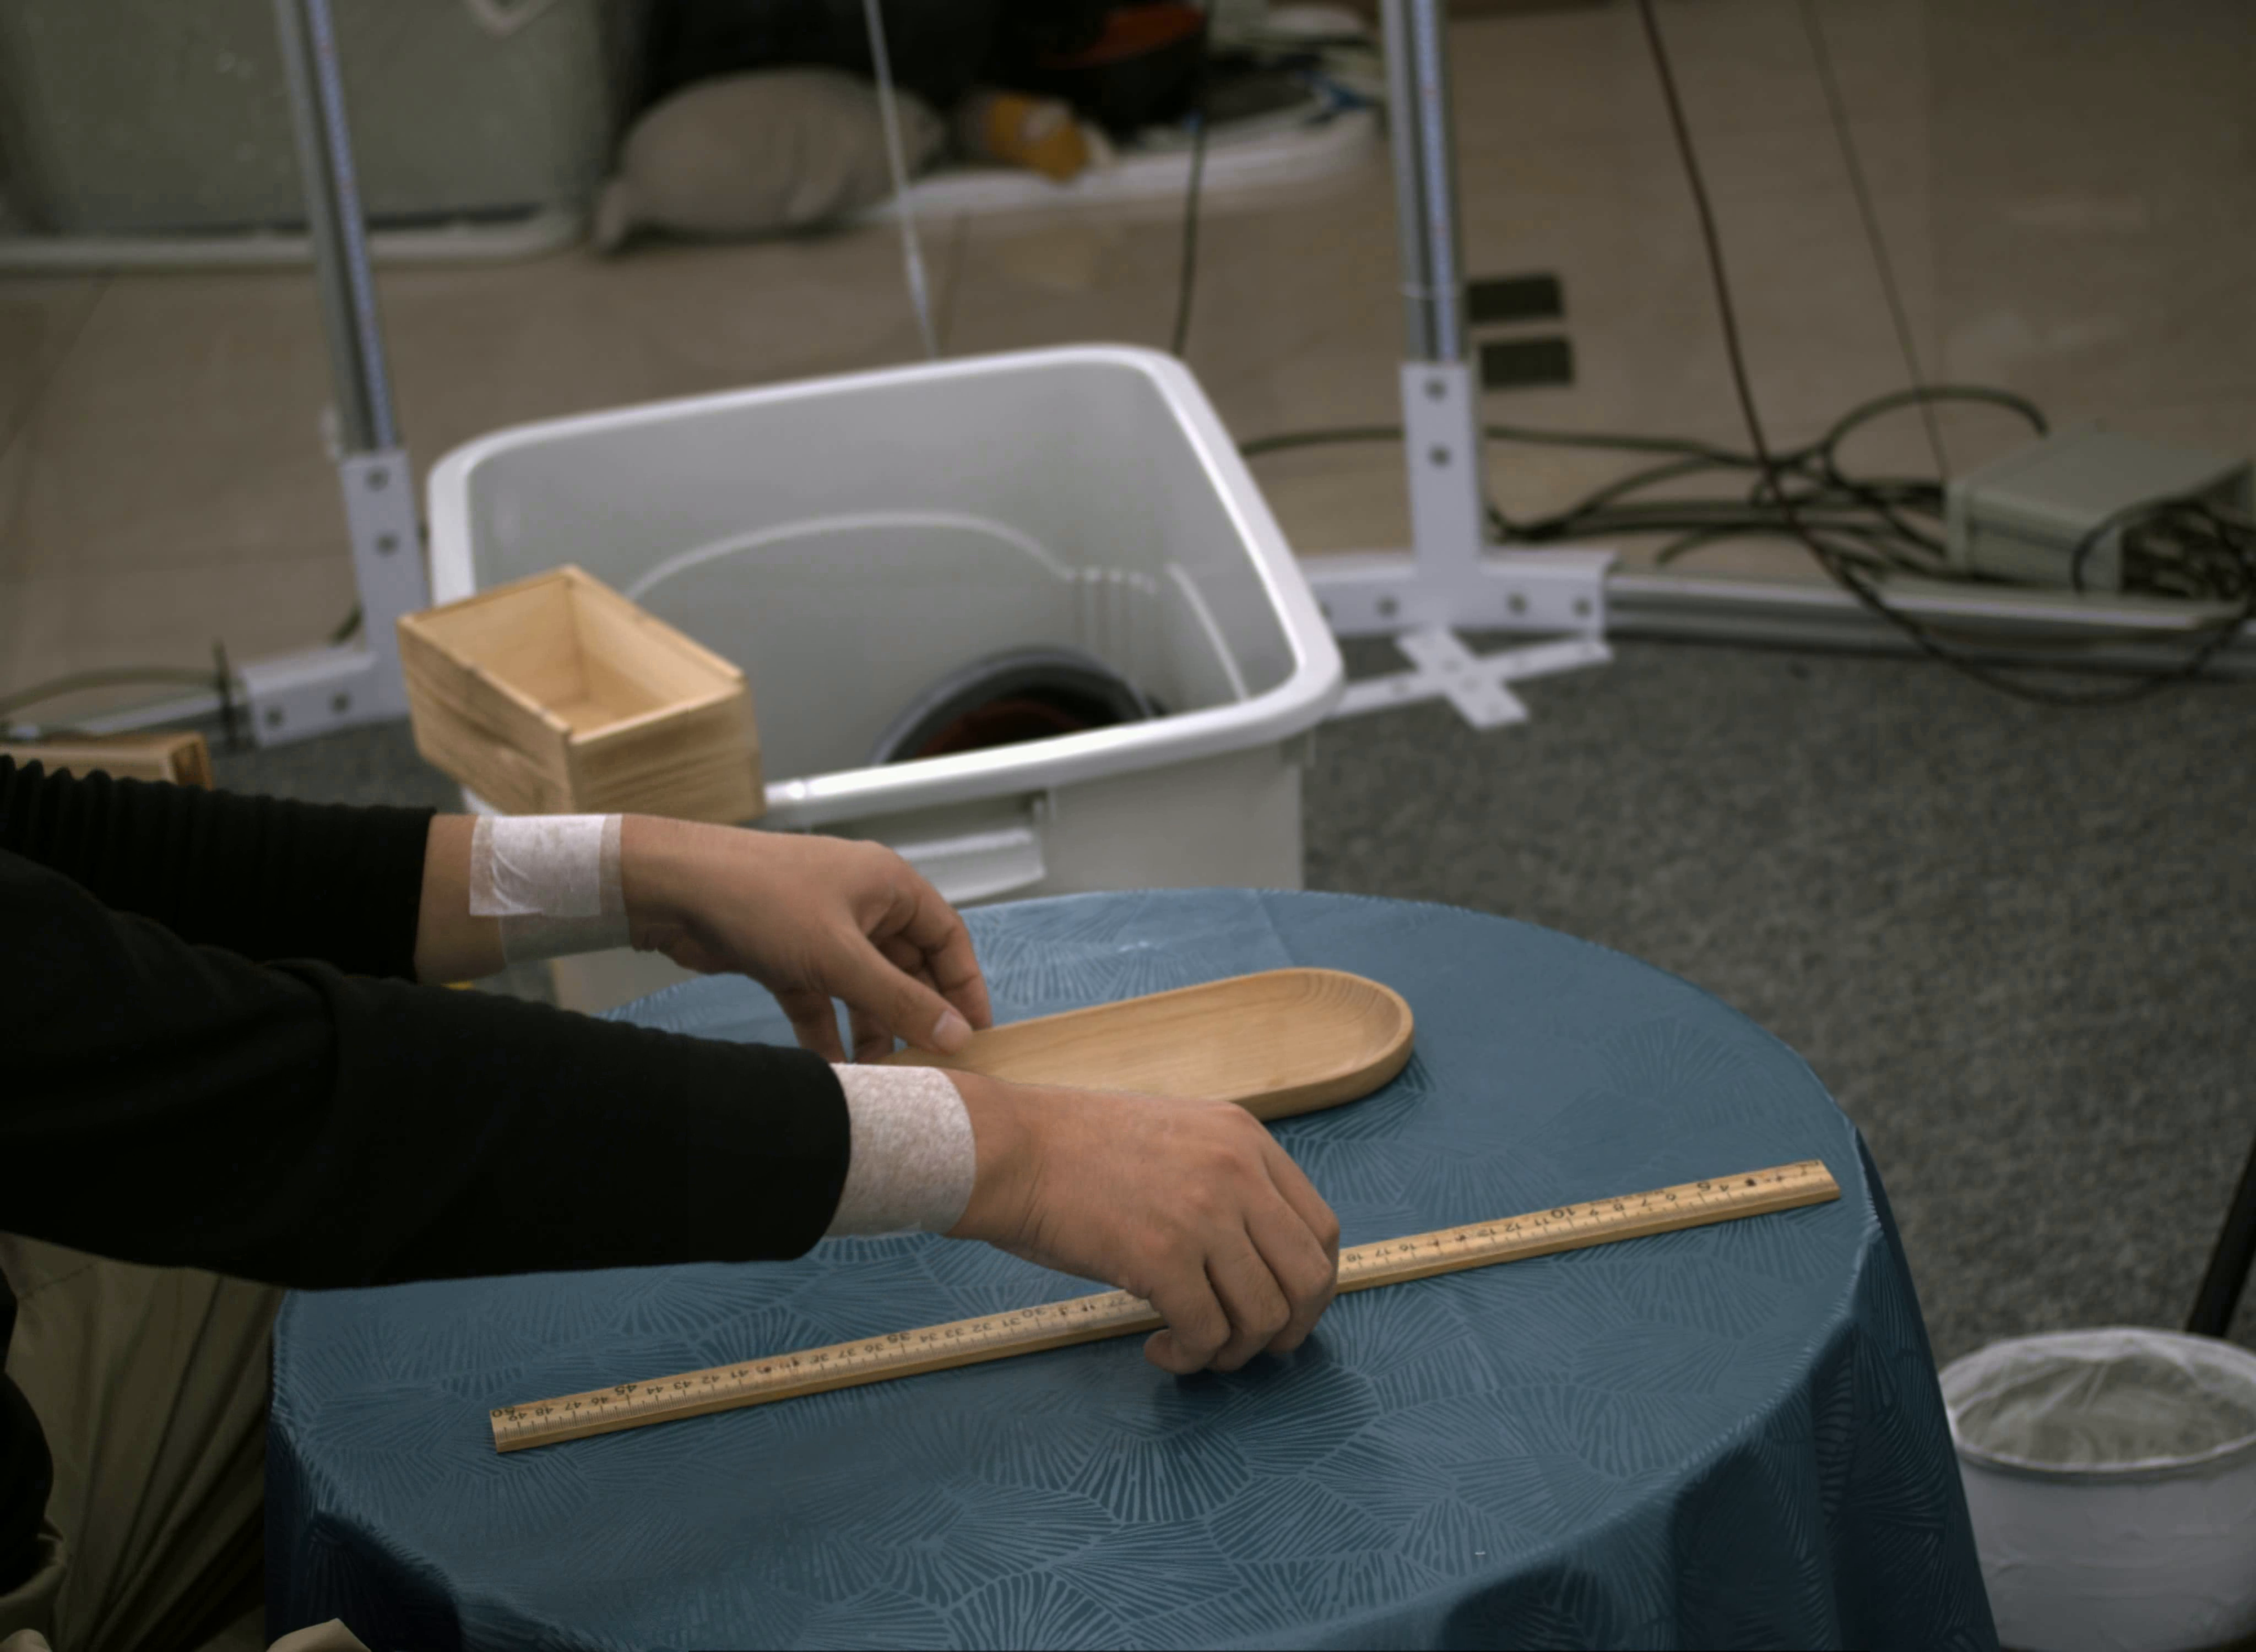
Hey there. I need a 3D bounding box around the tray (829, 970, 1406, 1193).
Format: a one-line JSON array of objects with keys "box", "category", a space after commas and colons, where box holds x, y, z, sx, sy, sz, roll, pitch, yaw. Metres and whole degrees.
[{"box": [-0.003, 0.100, 2.213, 0.230, 0.020, 0.100, -14, 24, -11], "category": "tray"}]

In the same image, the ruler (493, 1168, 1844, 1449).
[{"box": [0.016, 0.174, 2.064, 0.499, 0.006, 0.026, -10, 22, -7], "category": "ruler"}]
